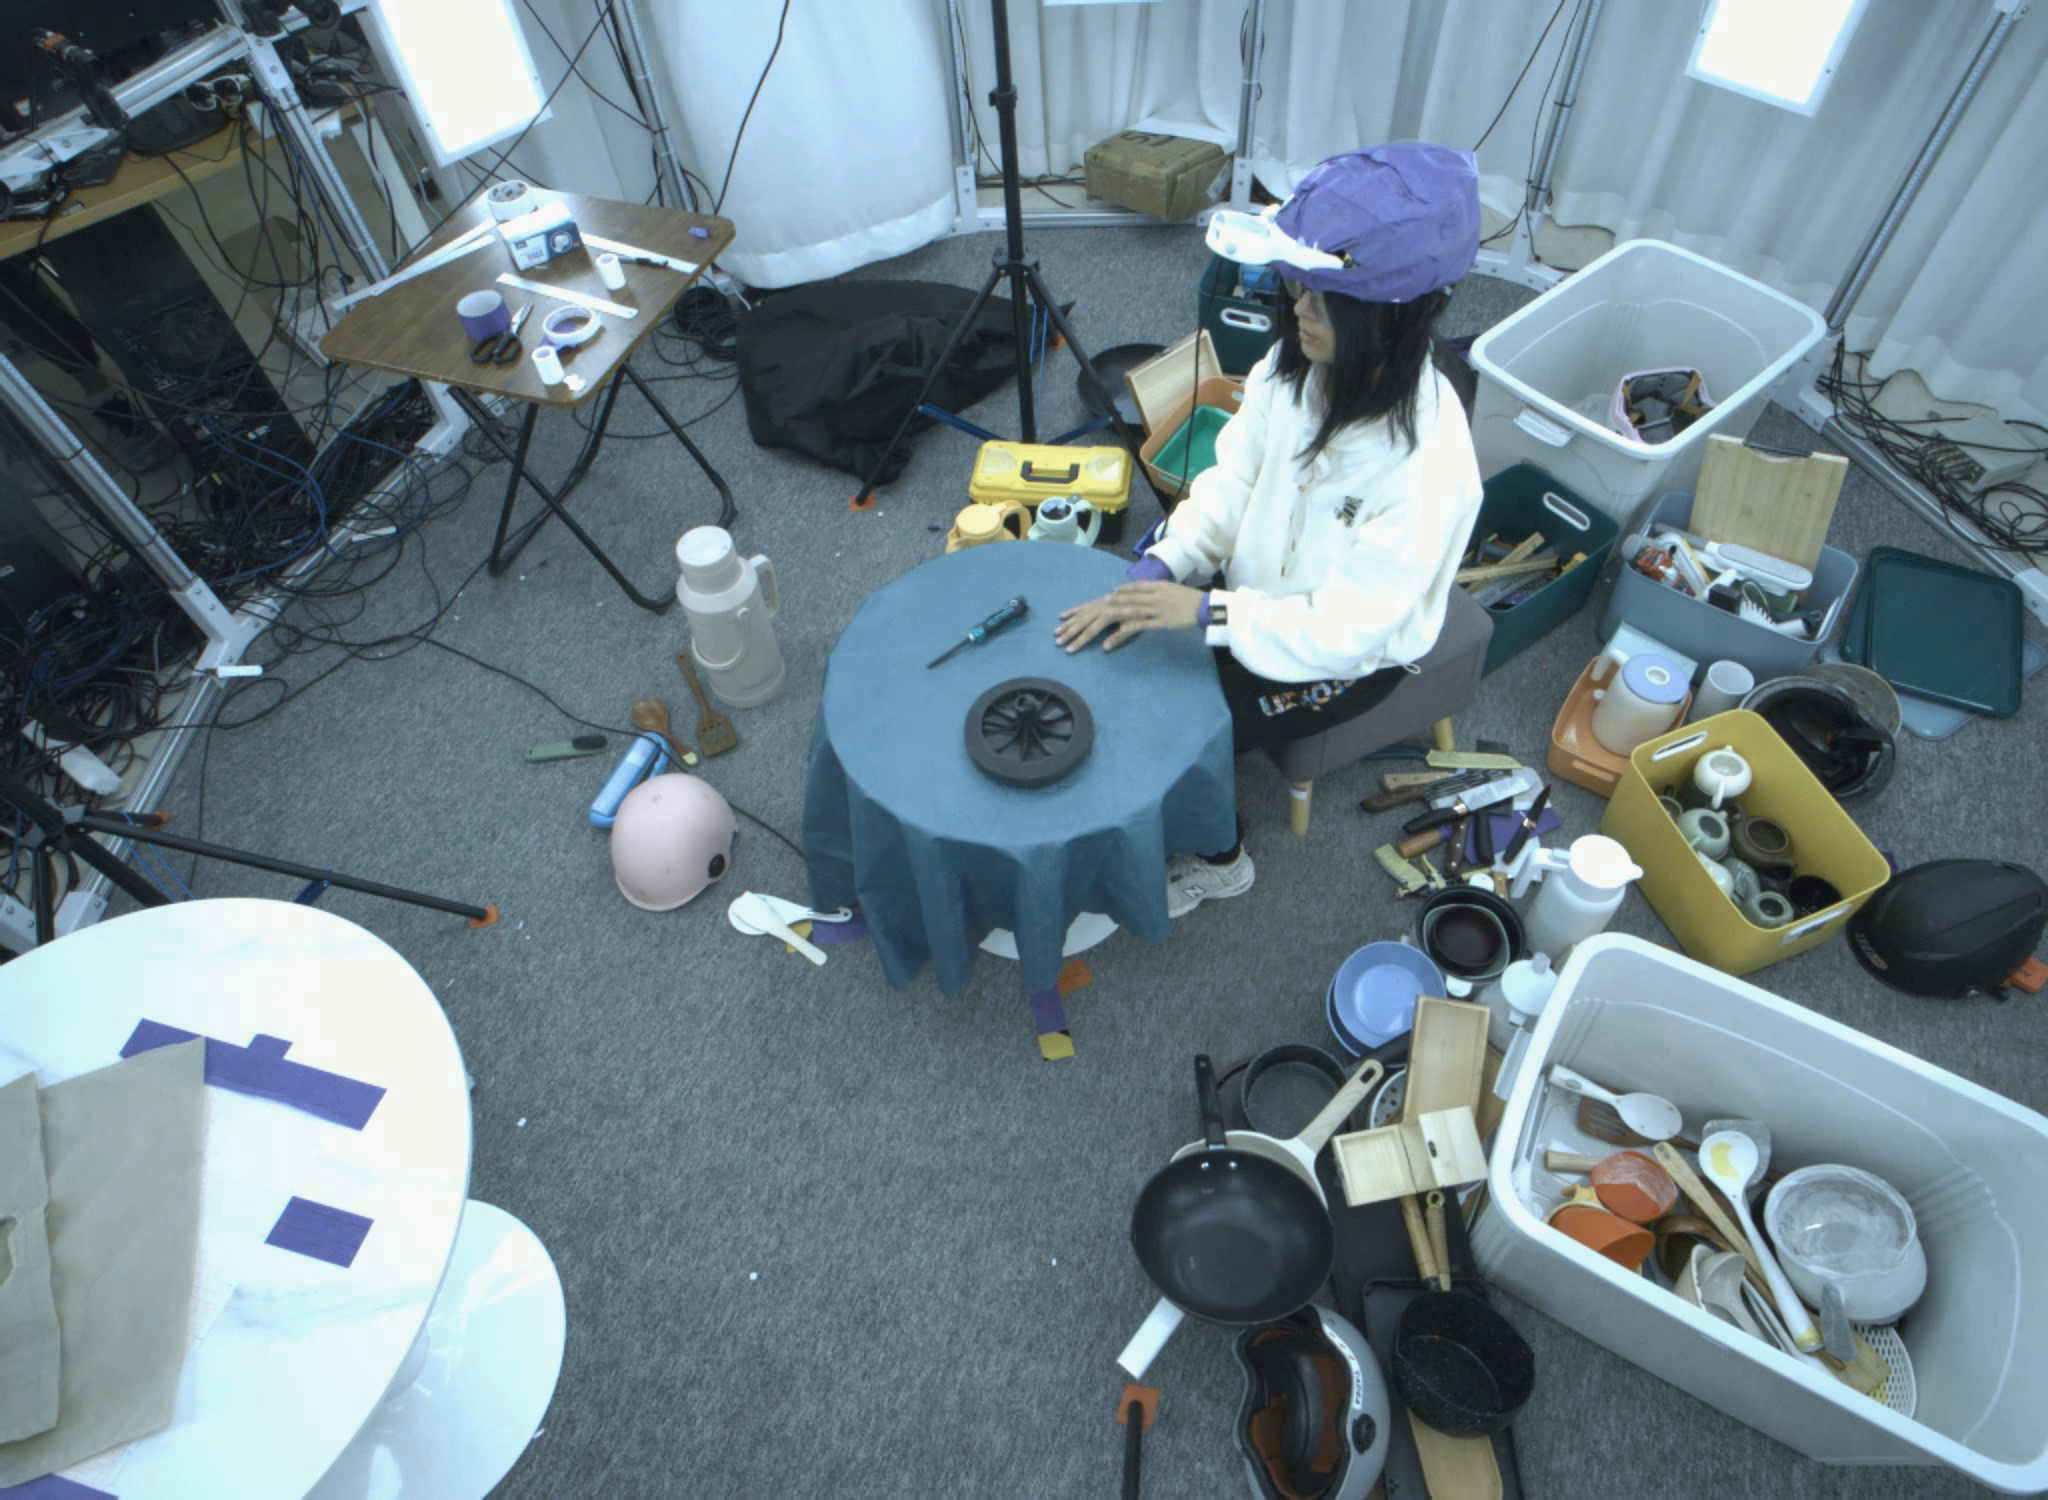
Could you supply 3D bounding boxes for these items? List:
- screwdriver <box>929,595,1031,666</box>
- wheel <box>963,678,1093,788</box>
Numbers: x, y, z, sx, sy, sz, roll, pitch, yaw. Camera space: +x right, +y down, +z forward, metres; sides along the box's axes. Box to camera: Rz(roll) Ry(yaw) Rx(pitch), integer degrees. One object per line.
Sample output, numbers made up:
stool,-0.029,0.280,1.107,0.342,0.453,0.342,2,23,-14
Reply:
screwdriver,-0.071,-0.182,1.906,0.191,0.034,0.033,-36,61,-15
wheel,0.003,-0.039,1.770,0.190,0.080,0.185,-8,55,0
